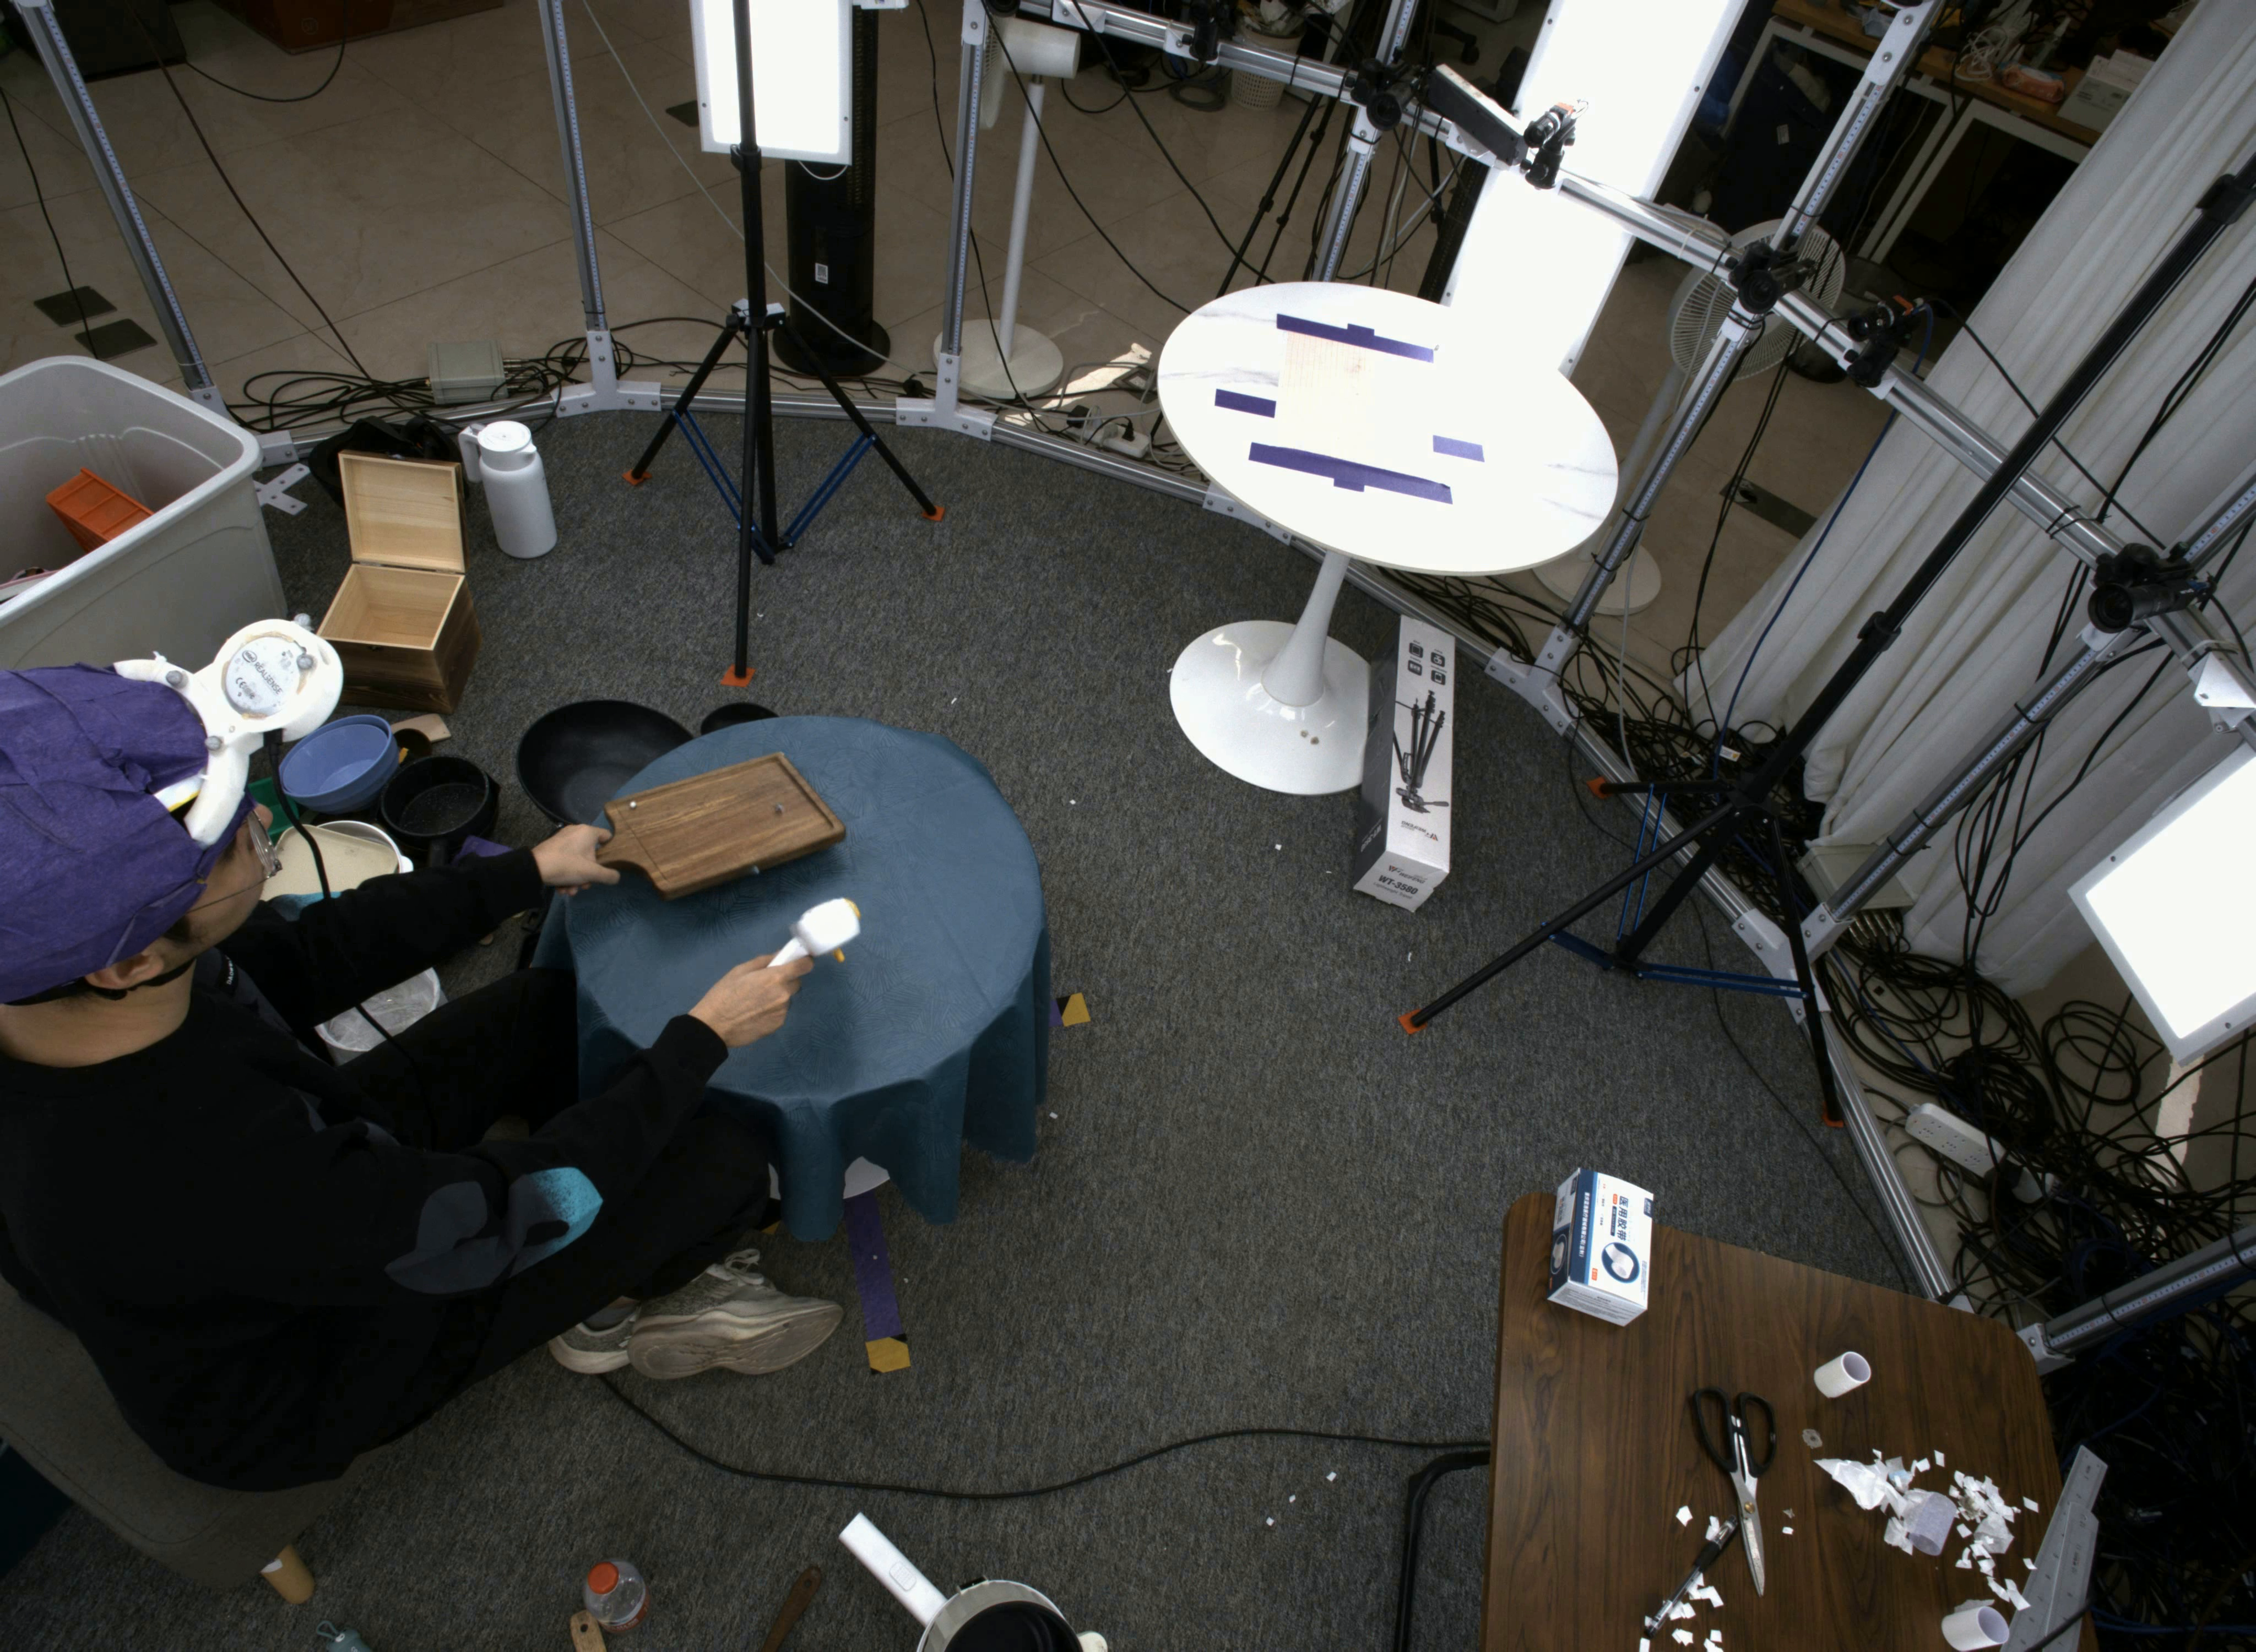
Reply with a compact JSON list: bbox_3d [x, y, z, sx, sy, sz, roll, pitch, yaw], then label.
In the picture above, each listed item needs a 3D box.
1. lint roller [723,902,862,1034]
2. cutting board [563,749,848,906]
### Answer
[{"bbox_3d":[-0.392,0.156,1.484,0.192,0.189,0.076,-37,102,-15],"label":"lint roller"},{"bbox_3d":[-0.555,0.009,1.634,0.355,0.024,0.194,-22,53,-35],"label":"cutting board"}]
